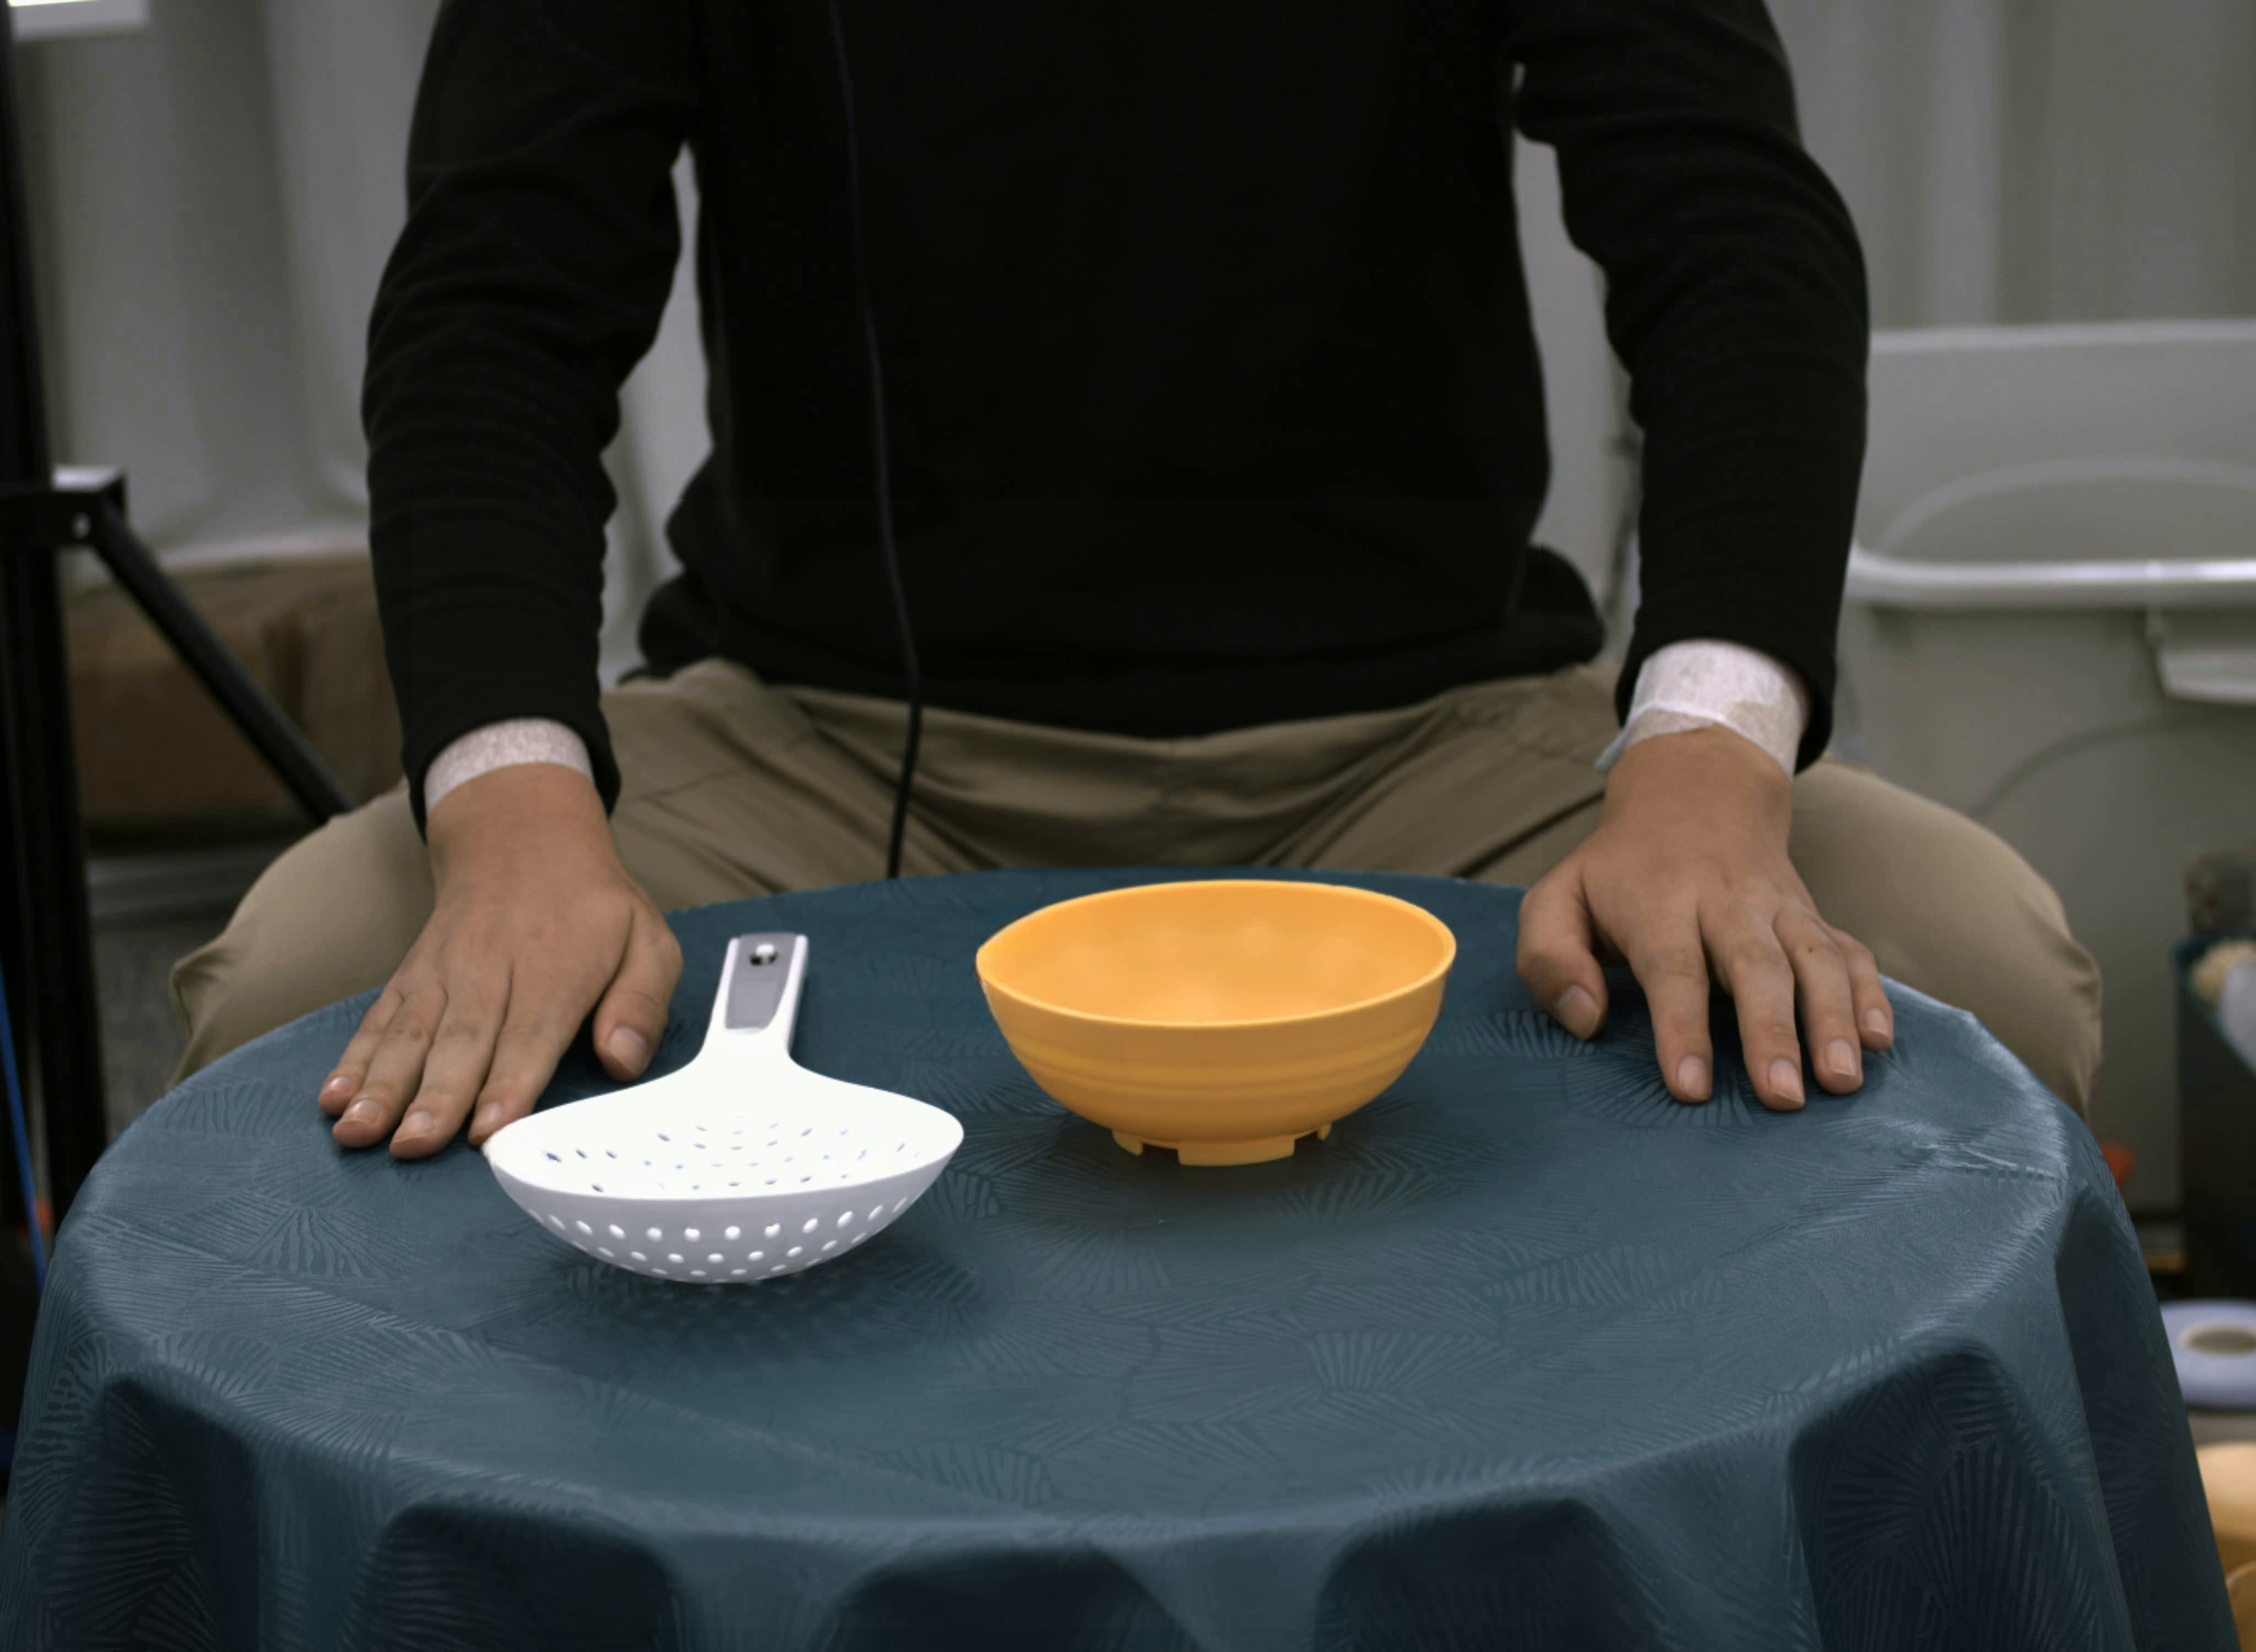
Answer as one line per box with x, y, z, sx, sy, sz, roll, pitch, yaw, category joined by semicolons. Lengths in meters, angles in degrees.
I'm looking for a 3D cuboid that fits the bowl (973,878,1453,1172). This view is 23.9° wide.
0.025;0.066;1.601;0.144;0.060;0.146;-1;17;-1;bowl

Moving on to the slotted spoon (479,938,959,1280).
-0.117;0.076;1.607;0.135;0.046;0.351;-2;15;-1;slotted spoon
